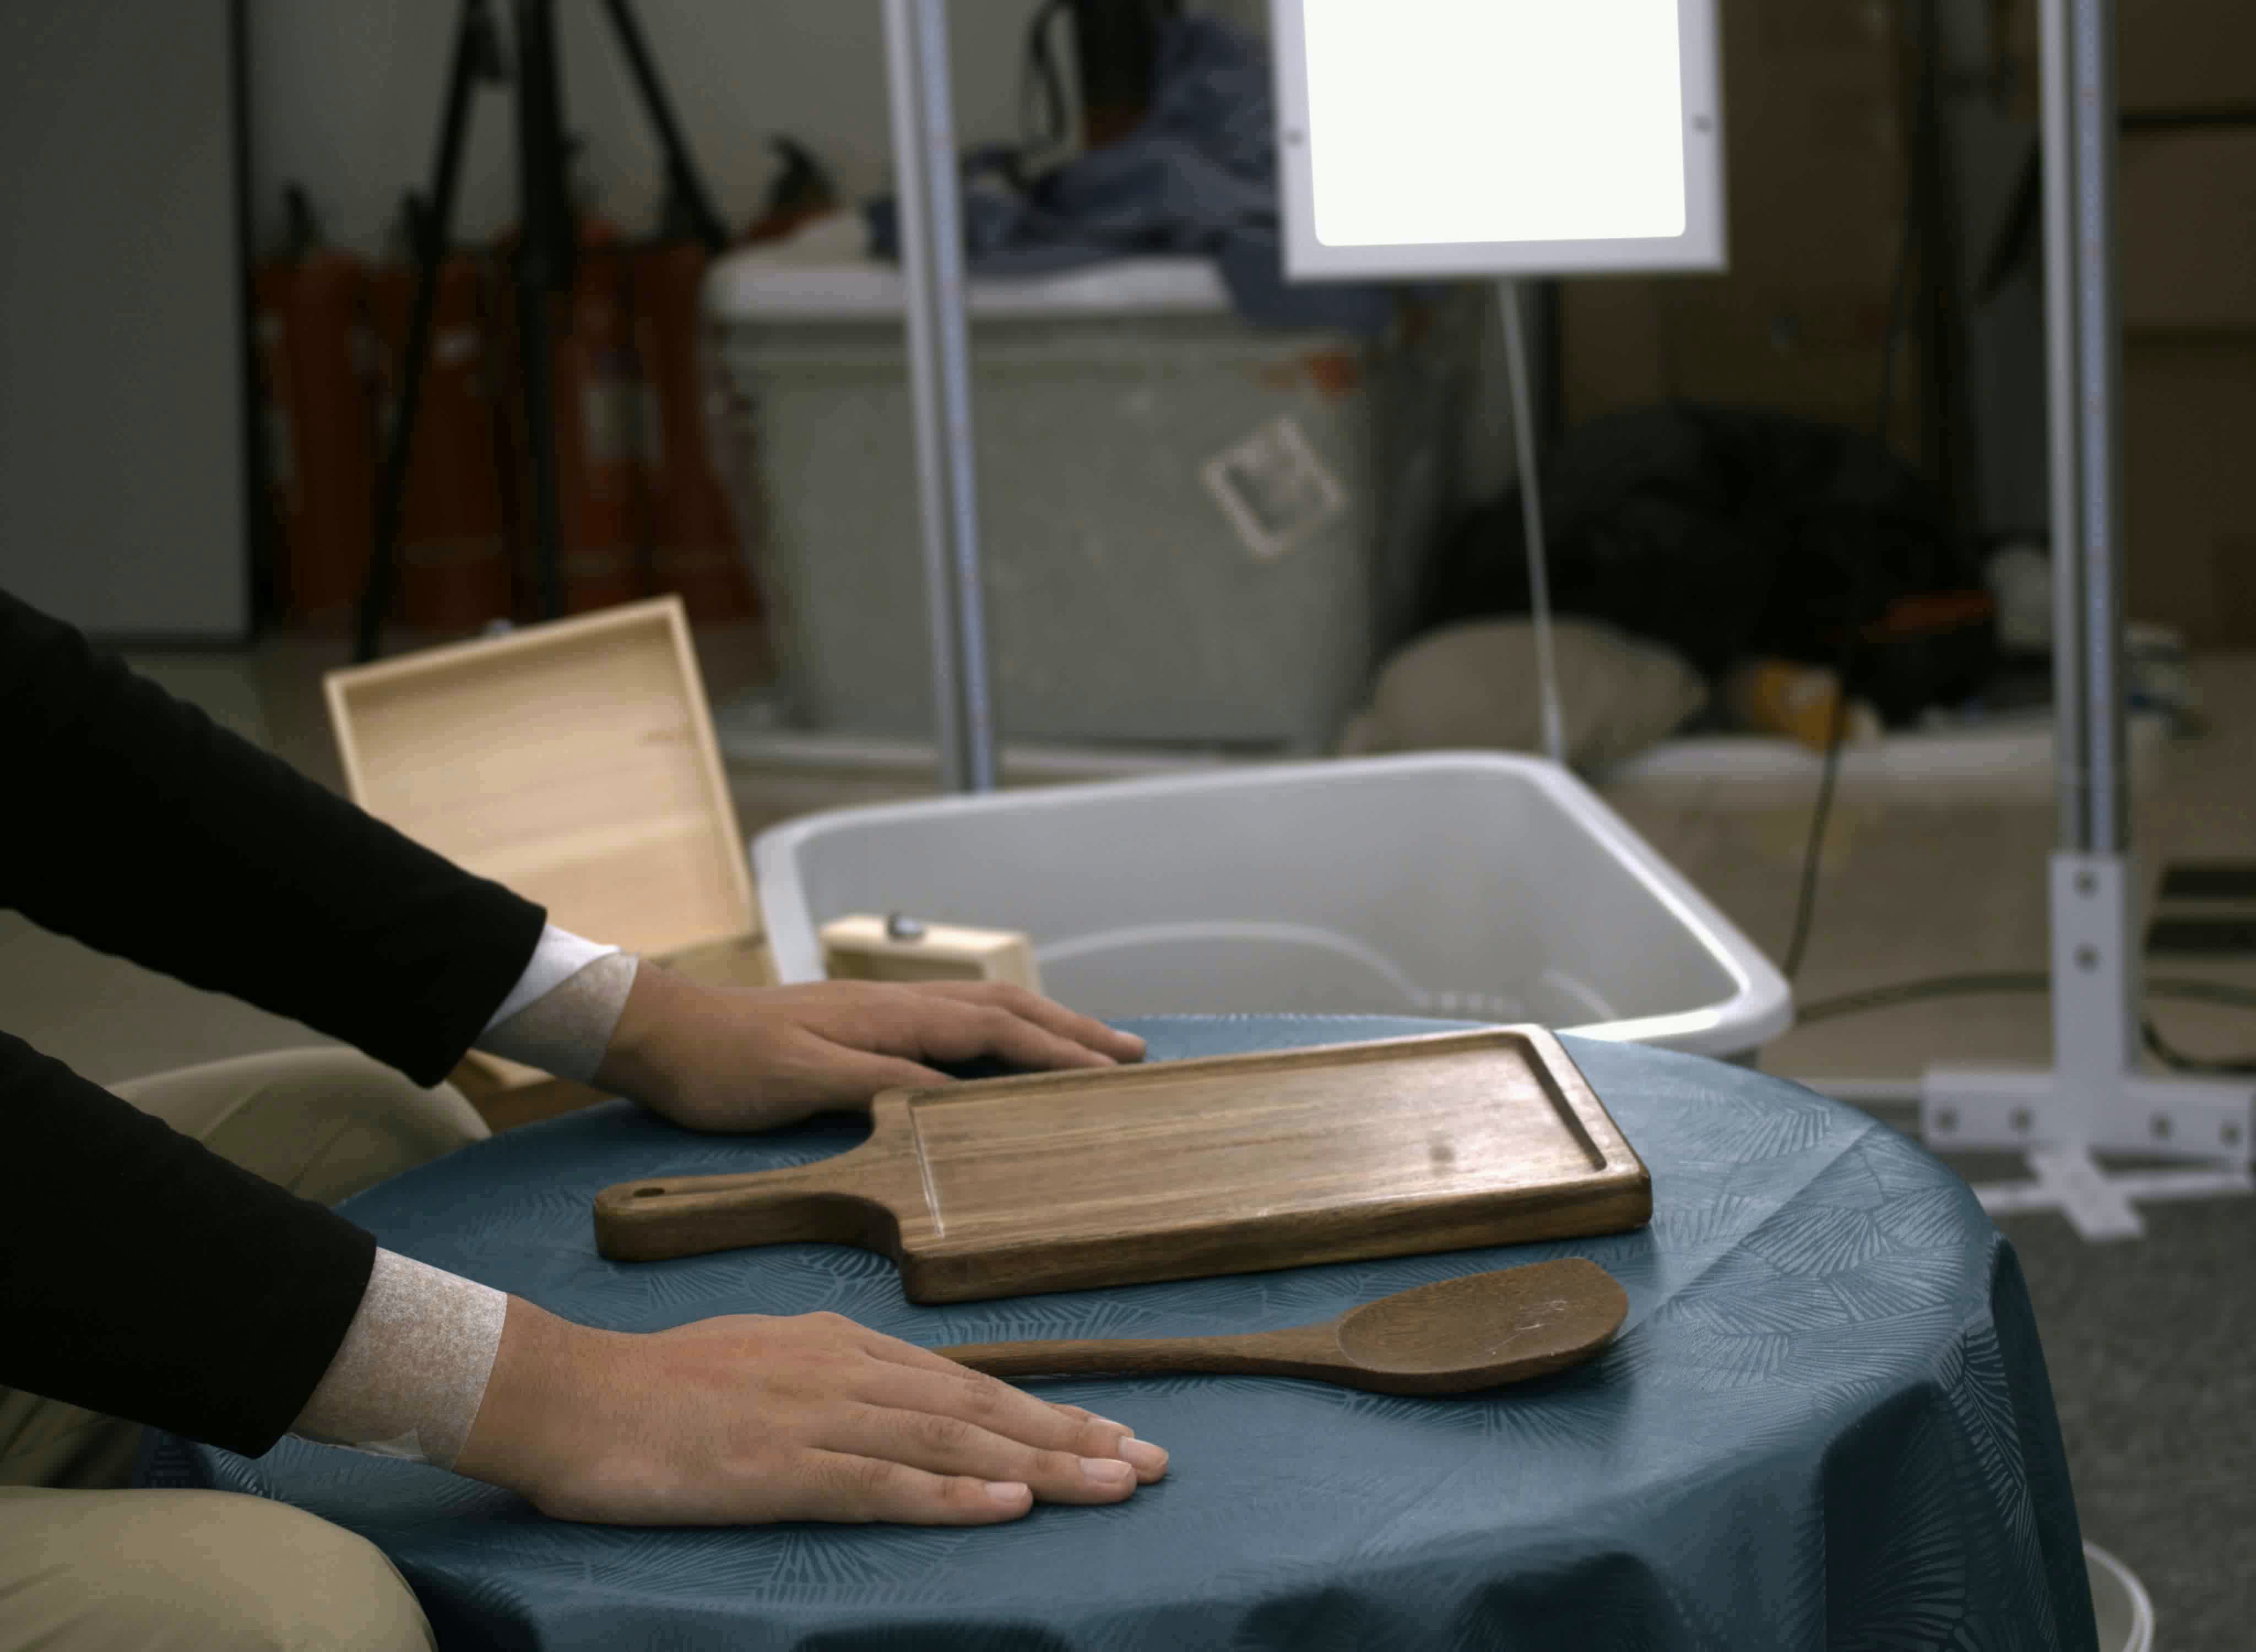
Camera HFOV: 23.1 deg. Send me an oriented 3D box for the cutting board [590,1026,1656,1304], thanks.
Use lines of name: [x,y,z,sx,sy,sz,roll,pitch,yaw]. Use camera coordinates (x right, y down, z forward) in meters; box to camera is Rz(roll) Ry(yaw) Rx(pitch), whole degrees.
cutting board: [-0.009,0.119,1.891,0.350,0.023,0.201,-6,13,-3]

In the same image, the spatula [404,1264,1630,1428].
spatula: [-0.036,0.166,1.718,0.386,0.016,0.095,-4,13,6]
